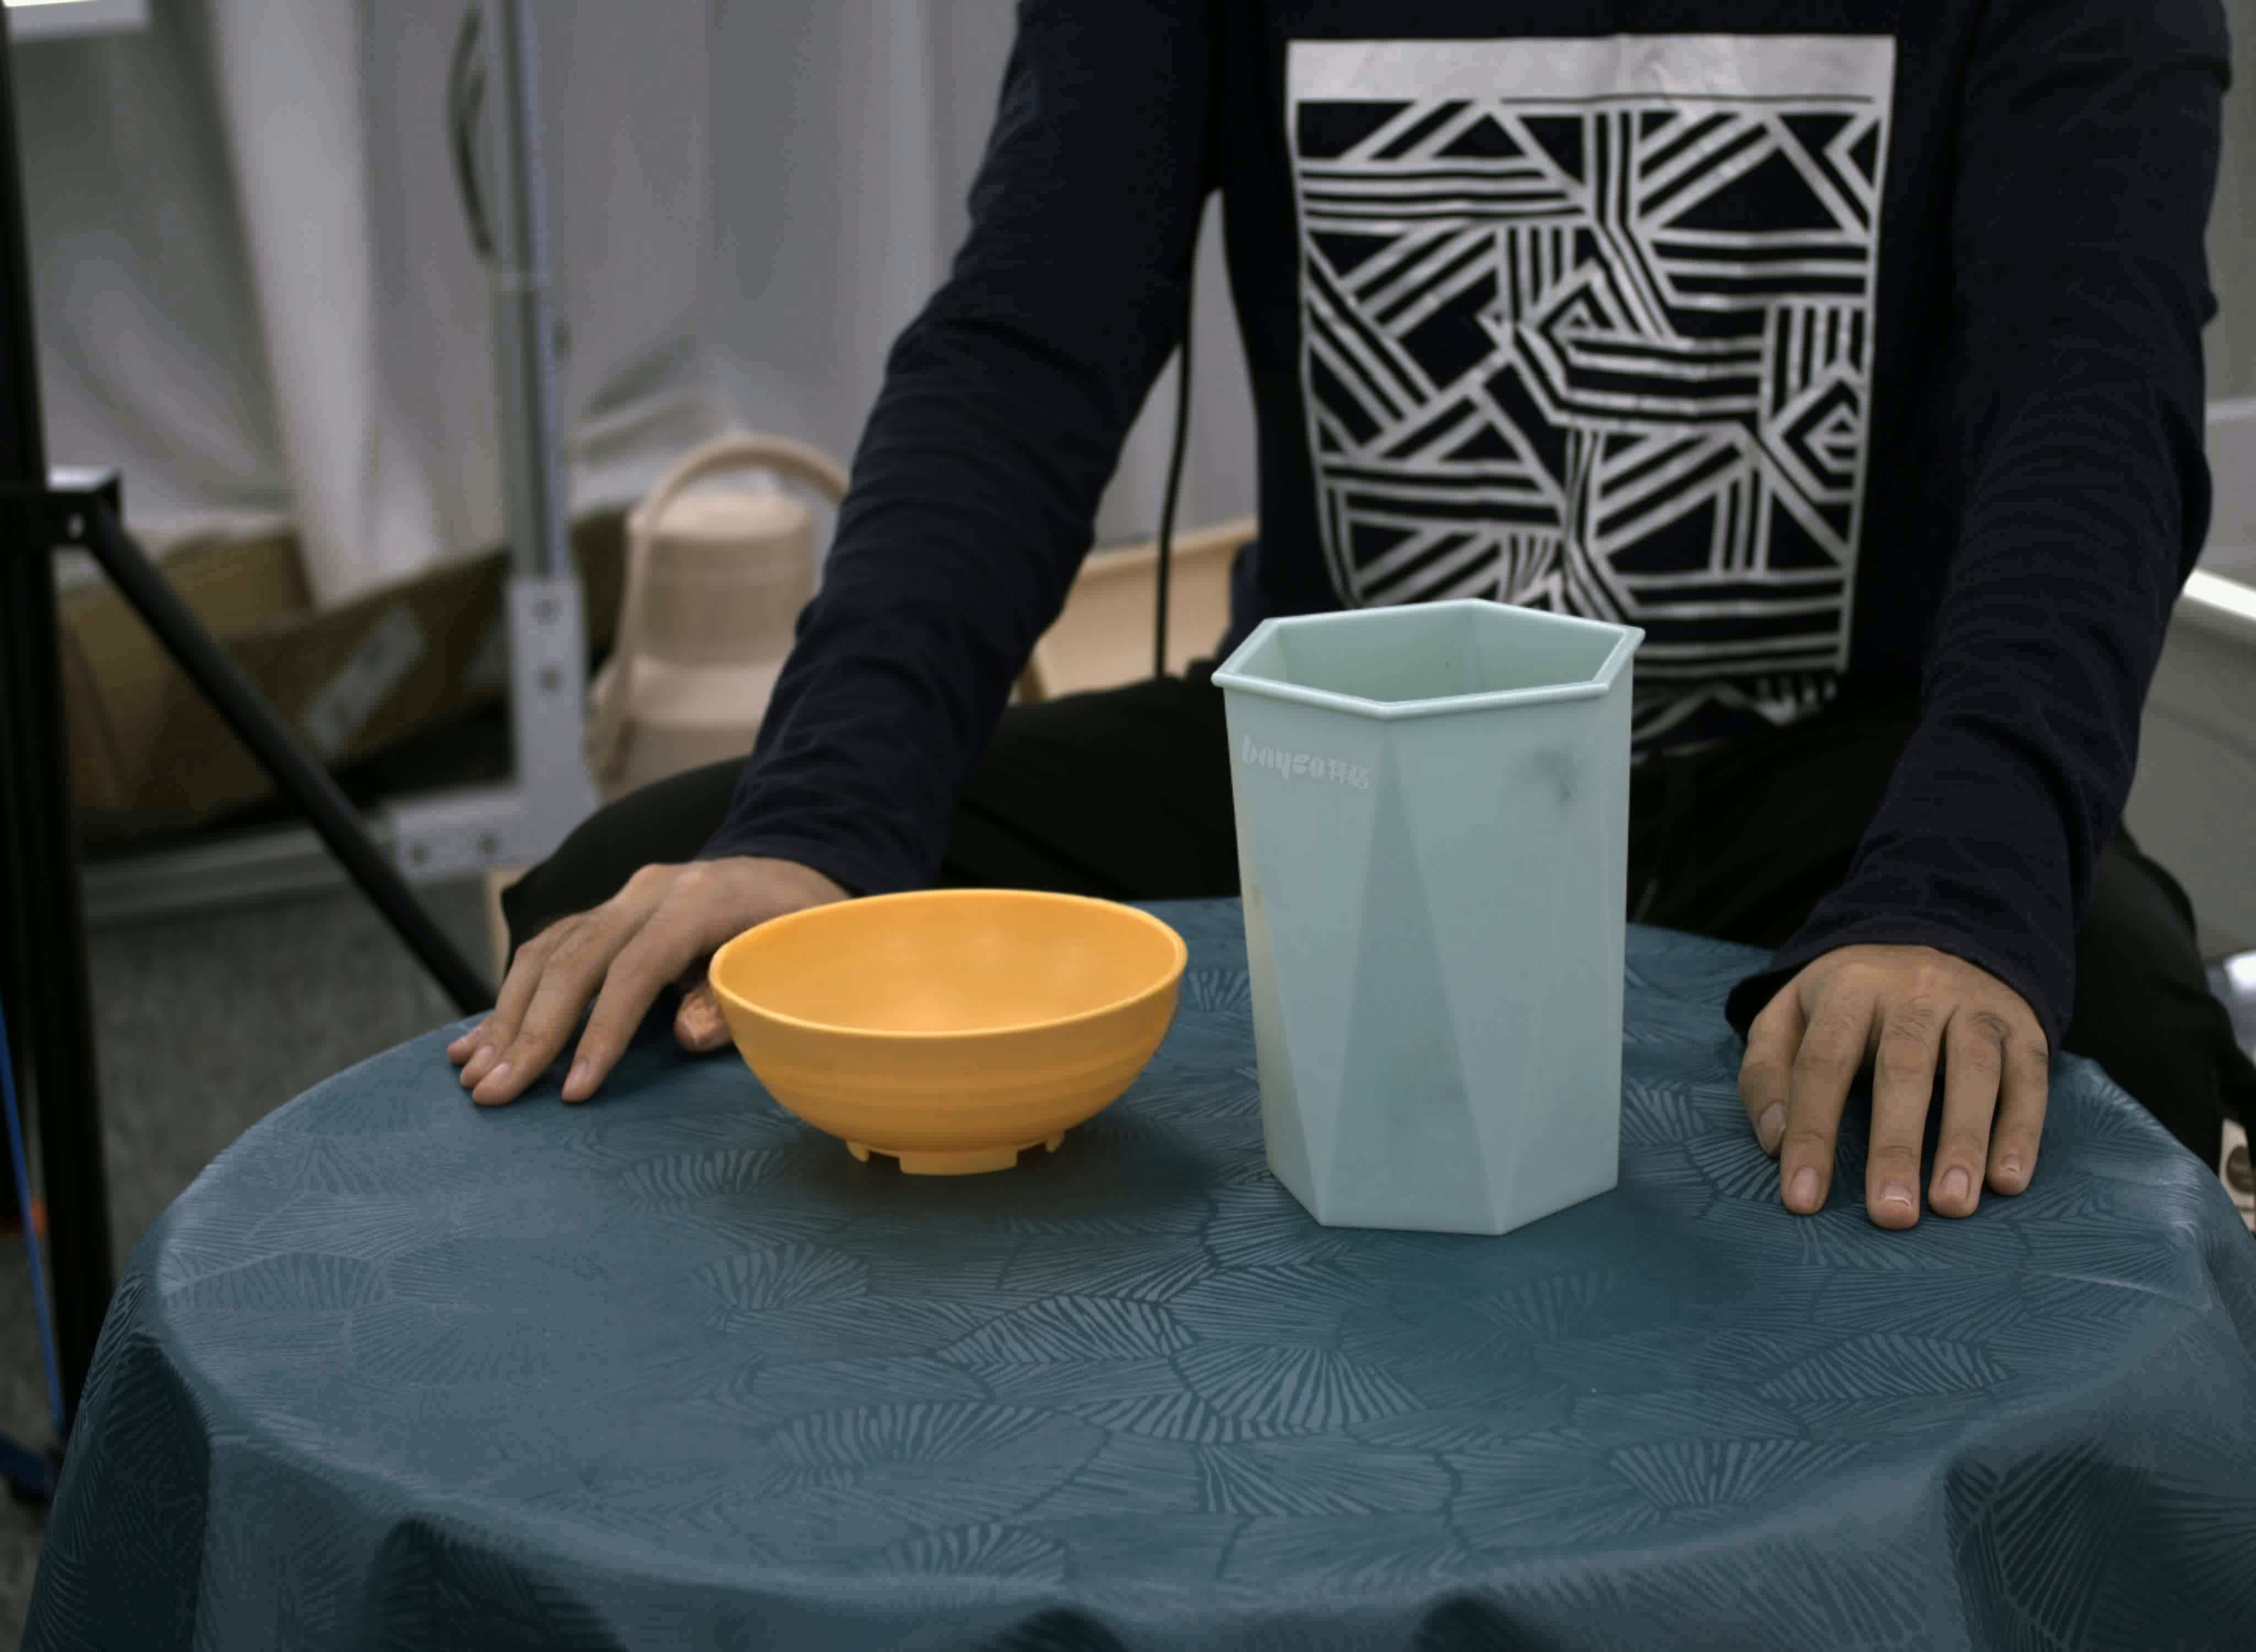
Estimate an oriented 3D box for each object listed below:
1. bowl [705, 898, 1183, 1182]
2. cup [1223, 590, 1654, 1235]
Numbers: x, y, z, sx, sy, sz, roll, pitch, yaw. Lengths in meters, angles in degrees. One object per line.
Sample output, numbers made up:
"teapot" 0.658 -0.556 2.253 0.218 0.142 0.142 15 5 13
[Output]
"bowl" -0.055 0.069 1.608 0.144 0.060 0.146 0 14 -1
"cup" 0.090 0.026 1.537 0.134 0.163 0.112 13 20 42
